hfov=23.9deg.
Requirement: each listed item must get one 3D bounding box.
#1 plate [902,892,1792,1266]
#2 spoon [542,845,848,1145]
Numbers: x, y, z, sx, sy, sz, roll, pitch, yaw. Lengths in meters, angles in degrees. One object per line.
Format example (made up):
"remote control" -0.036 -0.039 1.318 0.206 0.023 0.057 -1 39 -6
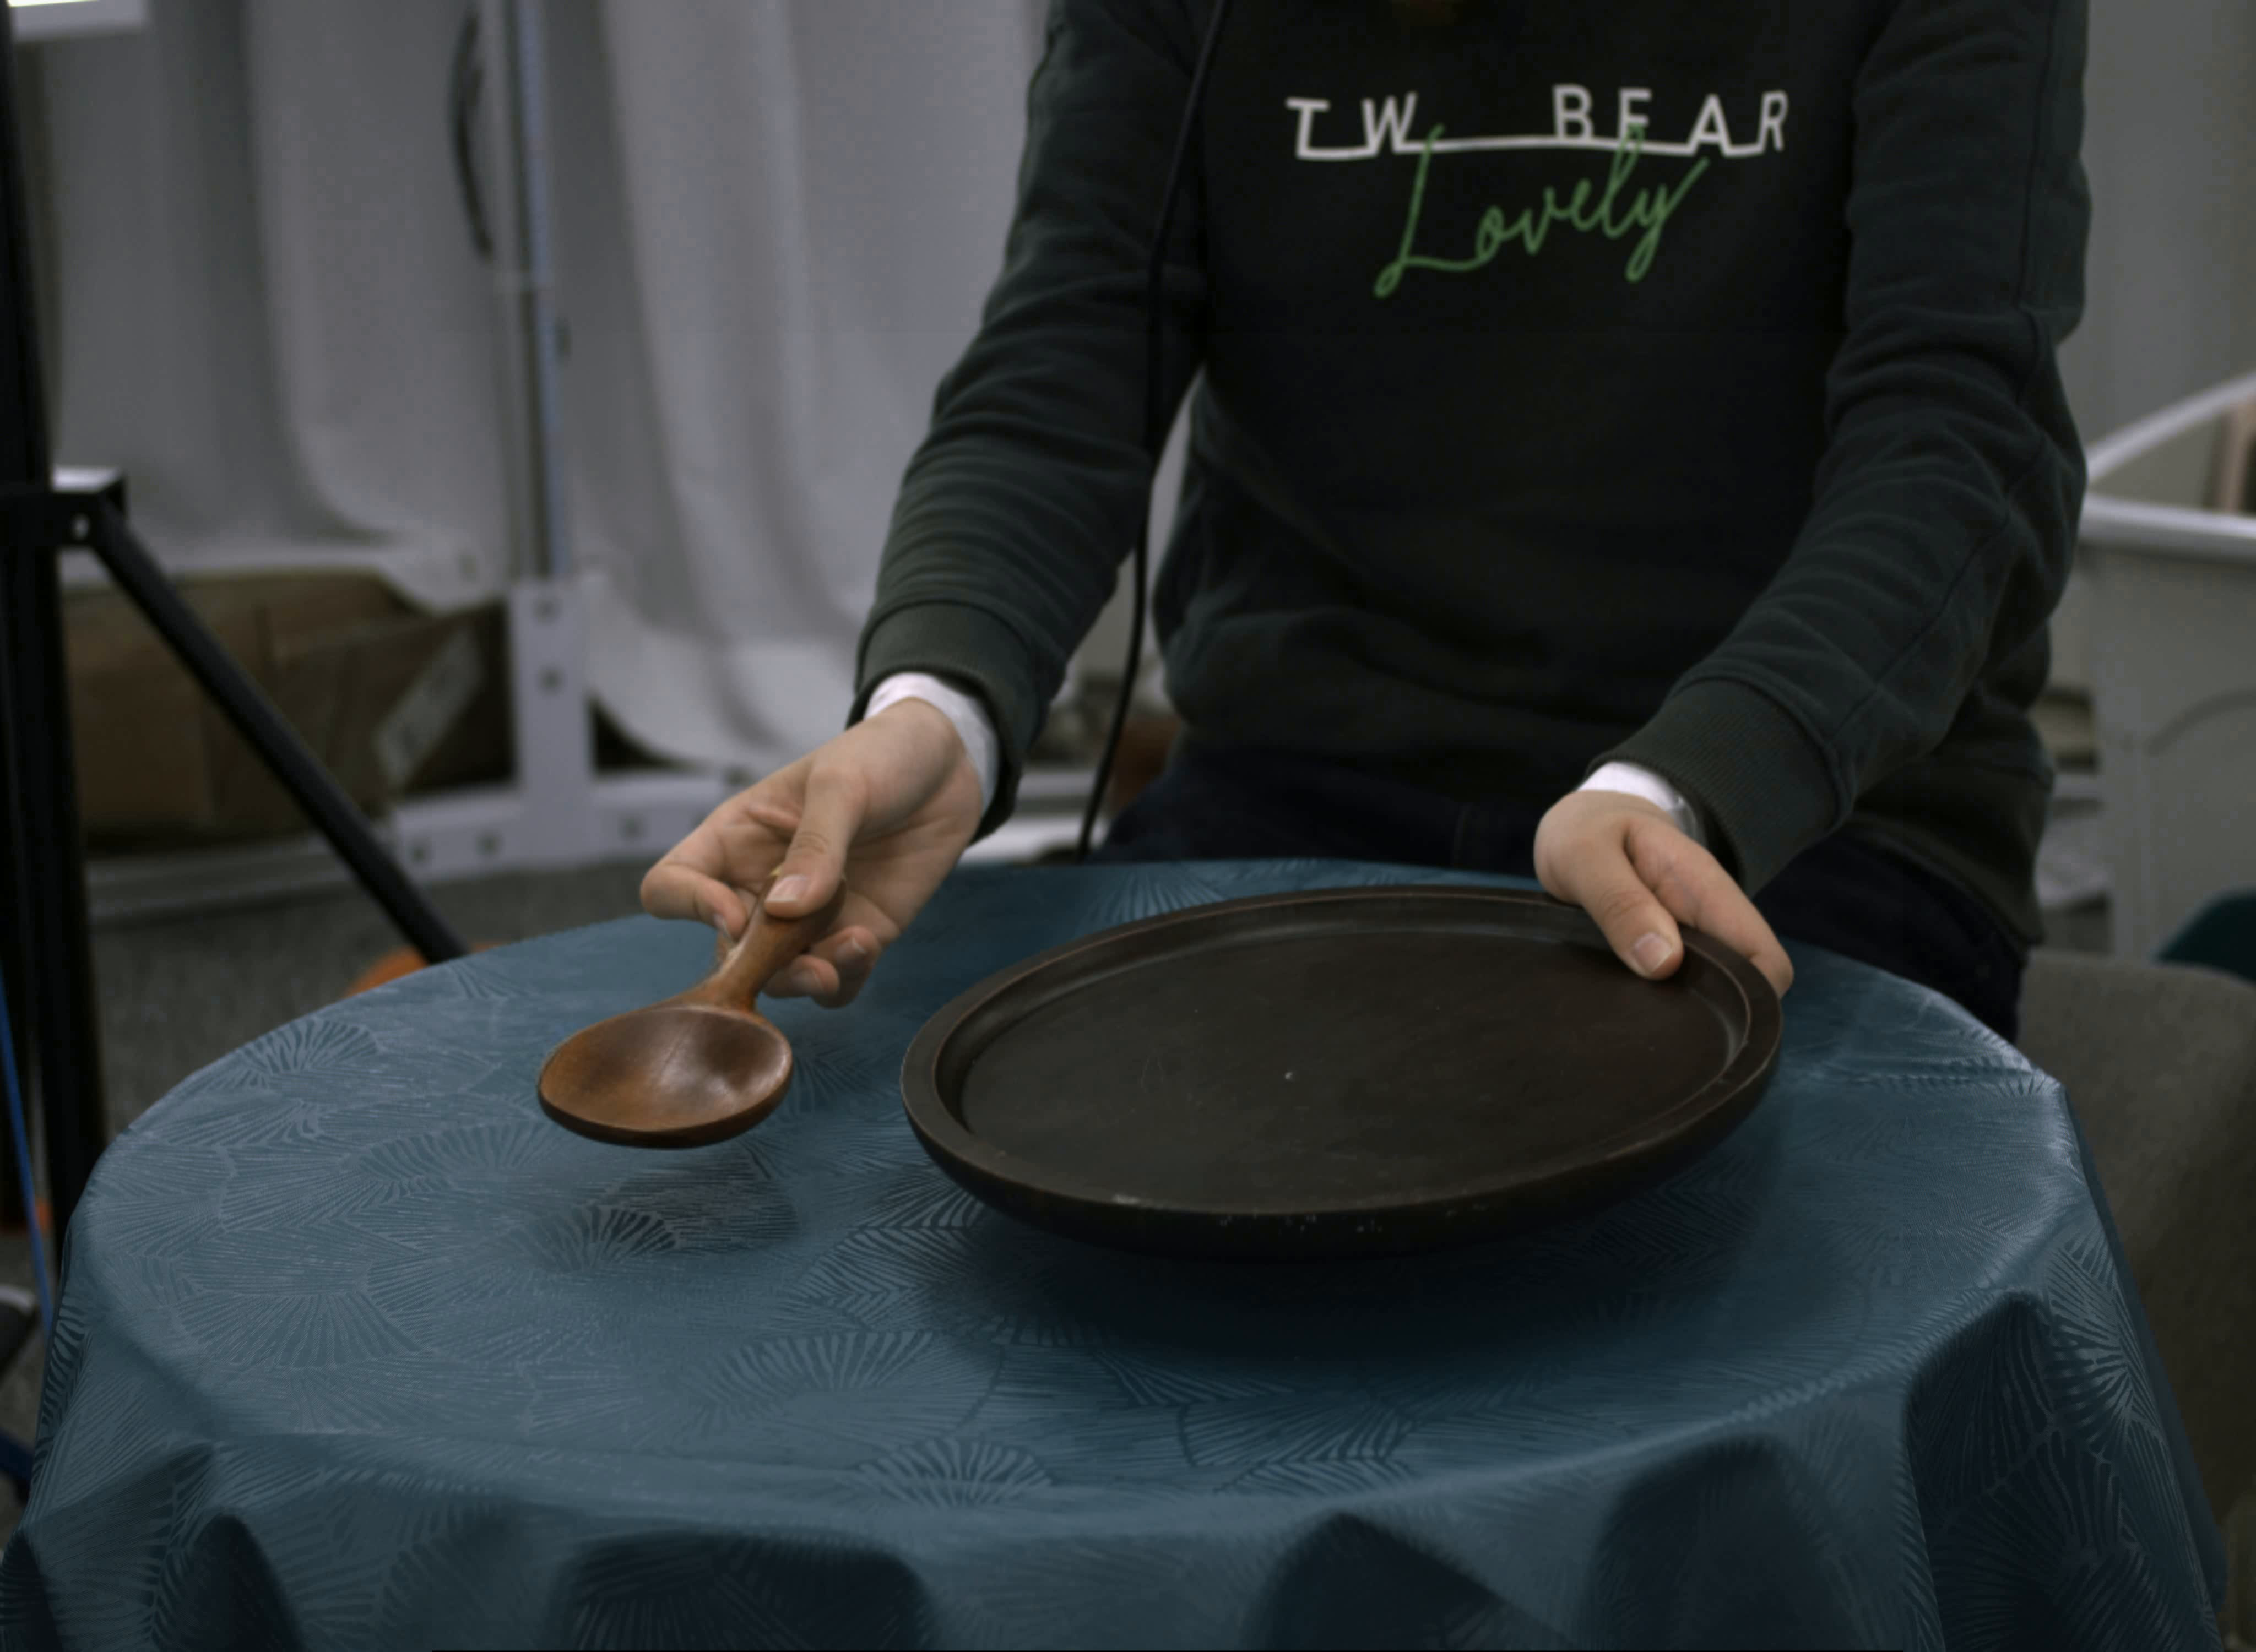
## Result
"plate" 0.062 0.069 1.511 0.254 0.029 0.256 -5 20 0
"spoon" -0.120 0.052 1.618 0.076 0.017 0.215 3 22 11
